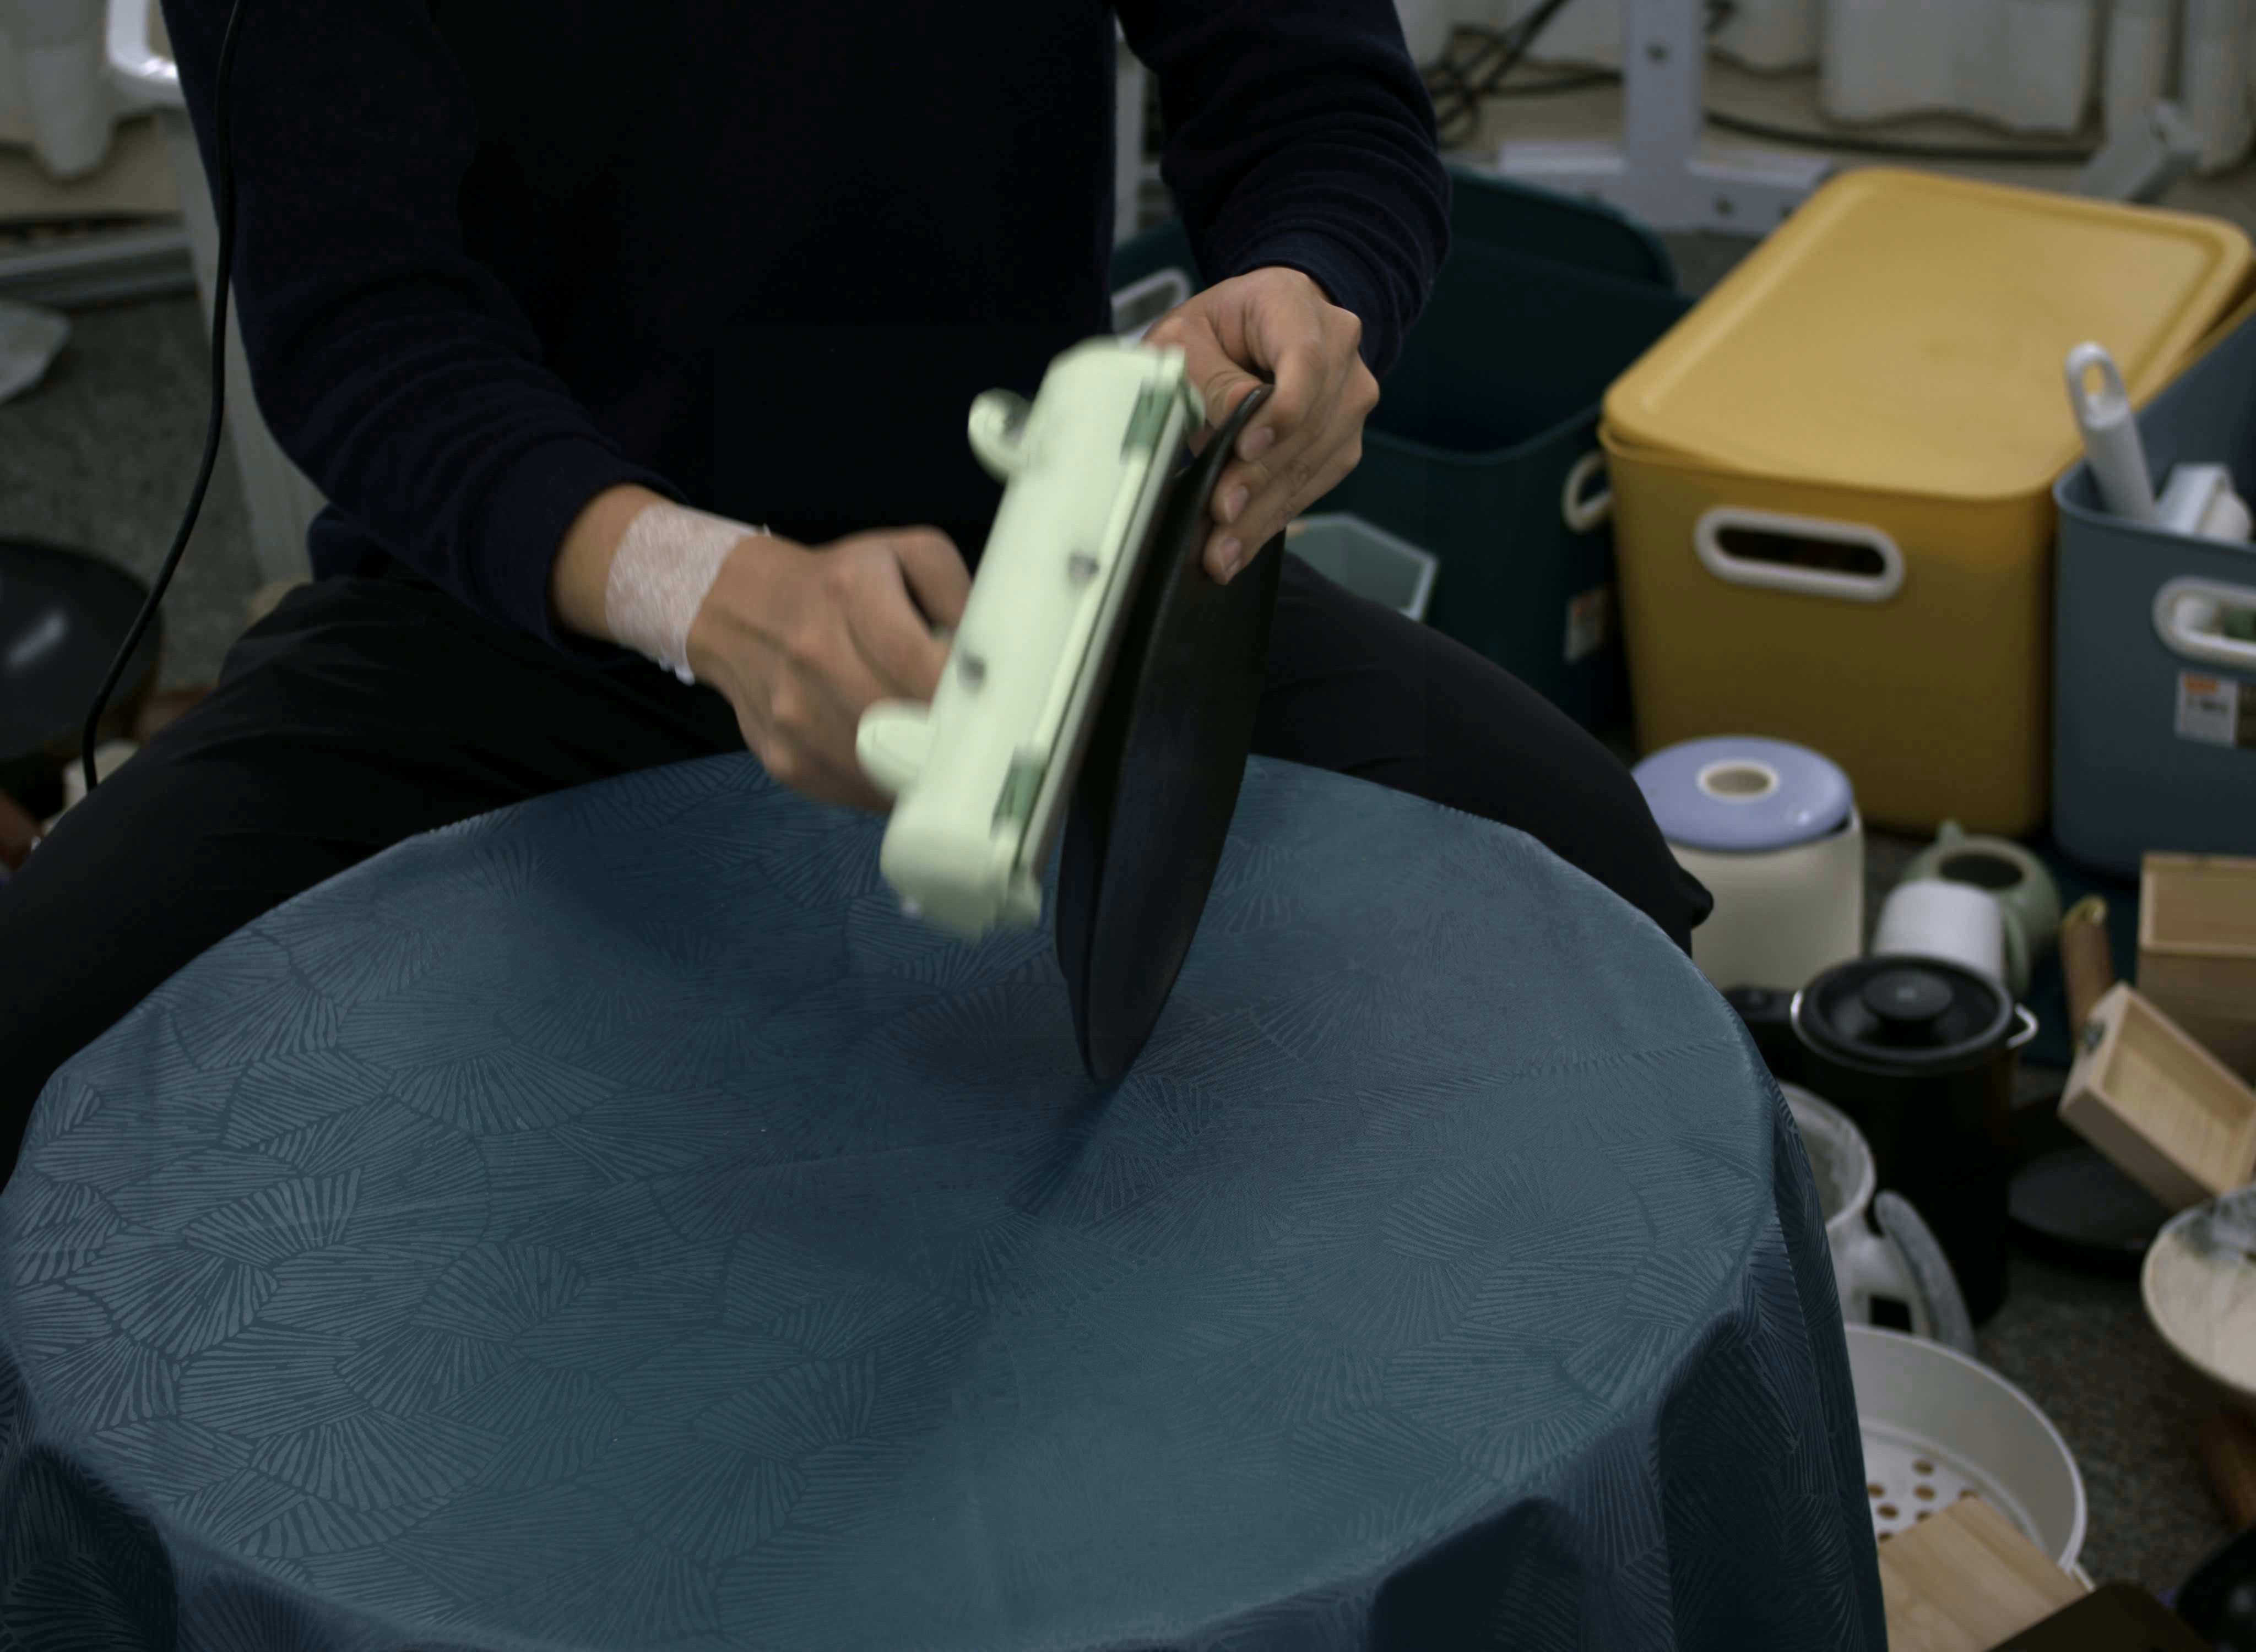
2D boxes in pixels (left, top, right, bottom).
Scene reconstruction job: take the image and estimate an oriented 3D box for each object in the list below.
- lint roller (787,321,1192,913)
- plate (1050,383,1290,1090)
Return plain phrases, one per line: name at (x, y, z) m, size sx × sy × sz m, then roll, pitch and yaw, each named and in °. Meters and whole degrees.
lint roller at (-0.070, -0.065, 1.834) m, size 0.181 × 0.082 × 0.202 m, roll -10°, pitch 52°, yaw 45°
plate at (0.011, -0.032, 1.895) m, size 0.023 × 0.241 × 0.248 m, roll 13°, pitch 30°, yaw 10°
